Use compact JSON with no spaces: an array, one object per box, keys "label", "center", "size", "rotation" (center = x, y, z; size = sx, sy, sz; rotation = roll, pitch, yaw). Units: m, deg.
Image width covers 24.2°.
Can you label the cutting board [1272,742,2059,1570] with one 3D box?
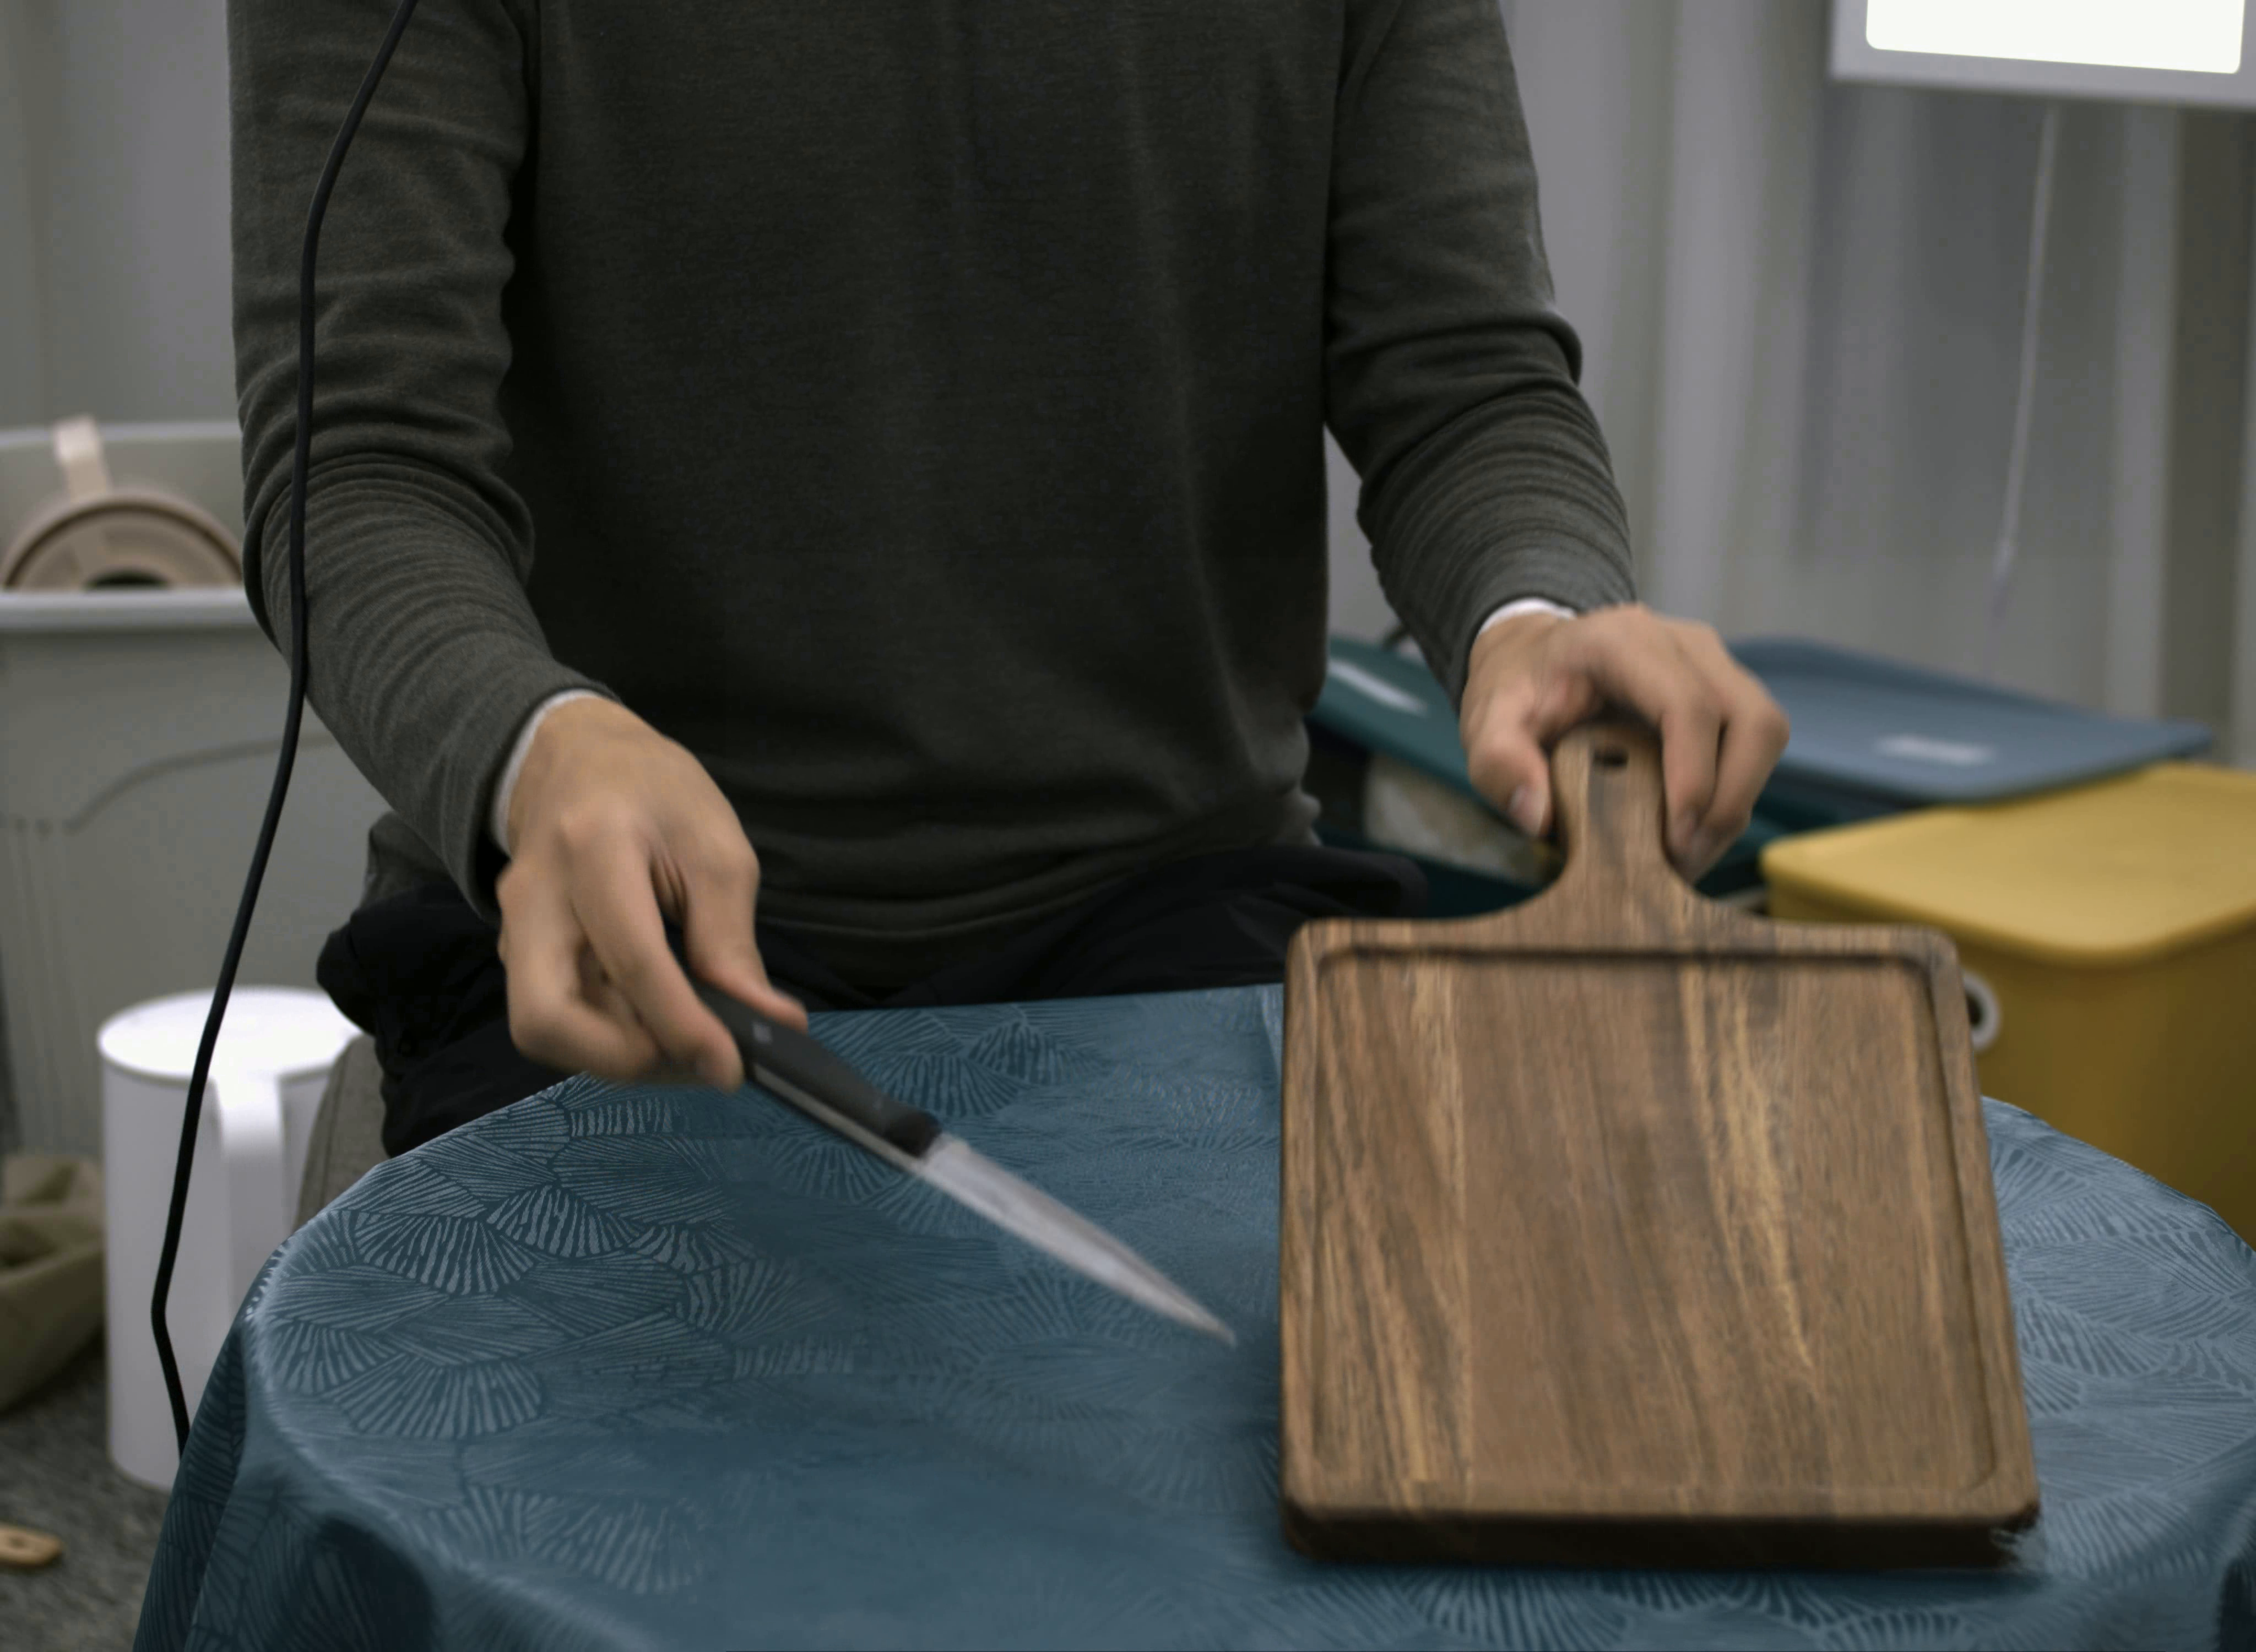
[{"label":"cutting board","center":[0.141,0.082,1.480],"size":[0.200,0.023,0.349],"rotation":[1,35,1]}]

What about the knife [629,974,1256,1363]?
[{"label":"knife","center":[-0.055,0.094,1.426],"size":[0.235,0.016,0.024],"rotation":[28,34,34]}]
